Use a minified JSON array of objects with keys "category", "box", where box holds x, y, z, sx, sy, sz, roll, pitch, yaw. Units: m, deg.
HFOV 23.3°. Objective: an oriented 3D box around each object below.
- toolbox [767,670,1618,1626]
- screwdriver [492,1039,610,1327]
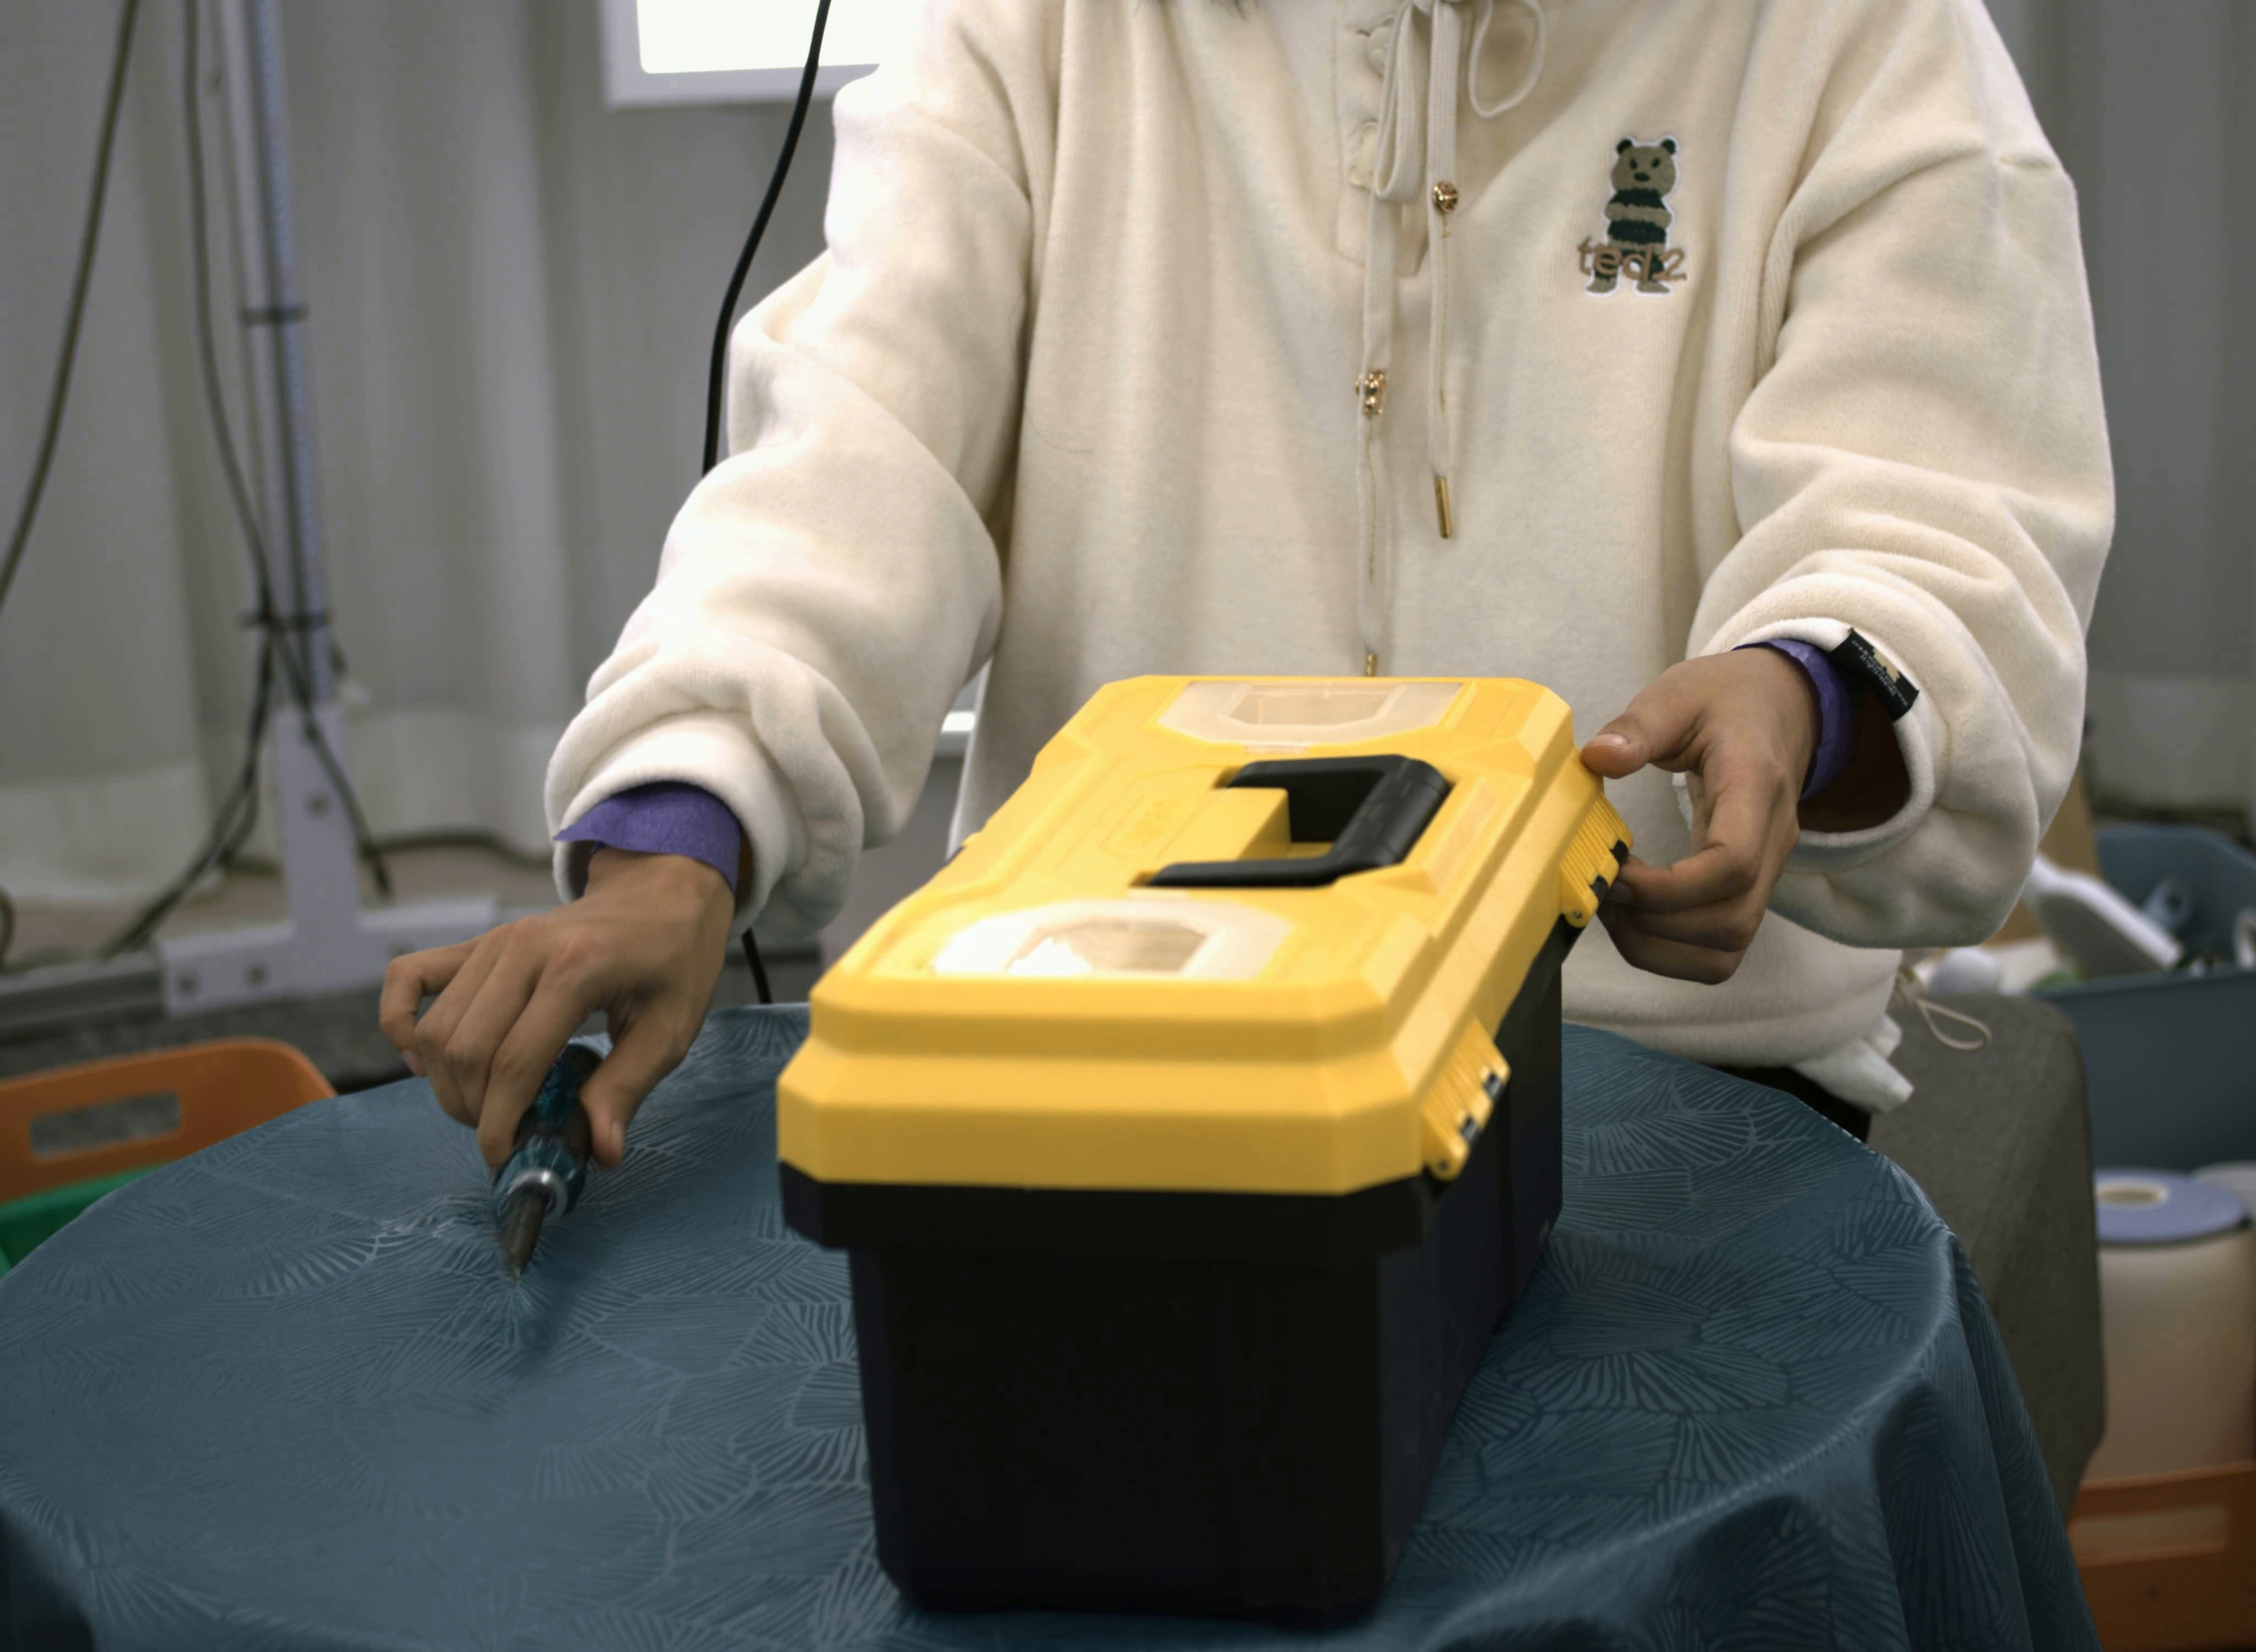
[{"category":"toolbox","box":[0.030,0.078,1.509,0.181,0.172,0.353,1,15,14]},{"category":"screwdriver","box":[-0.182,0.112,1.682,0.033,0.033,0.192,-2,20,1]}]
